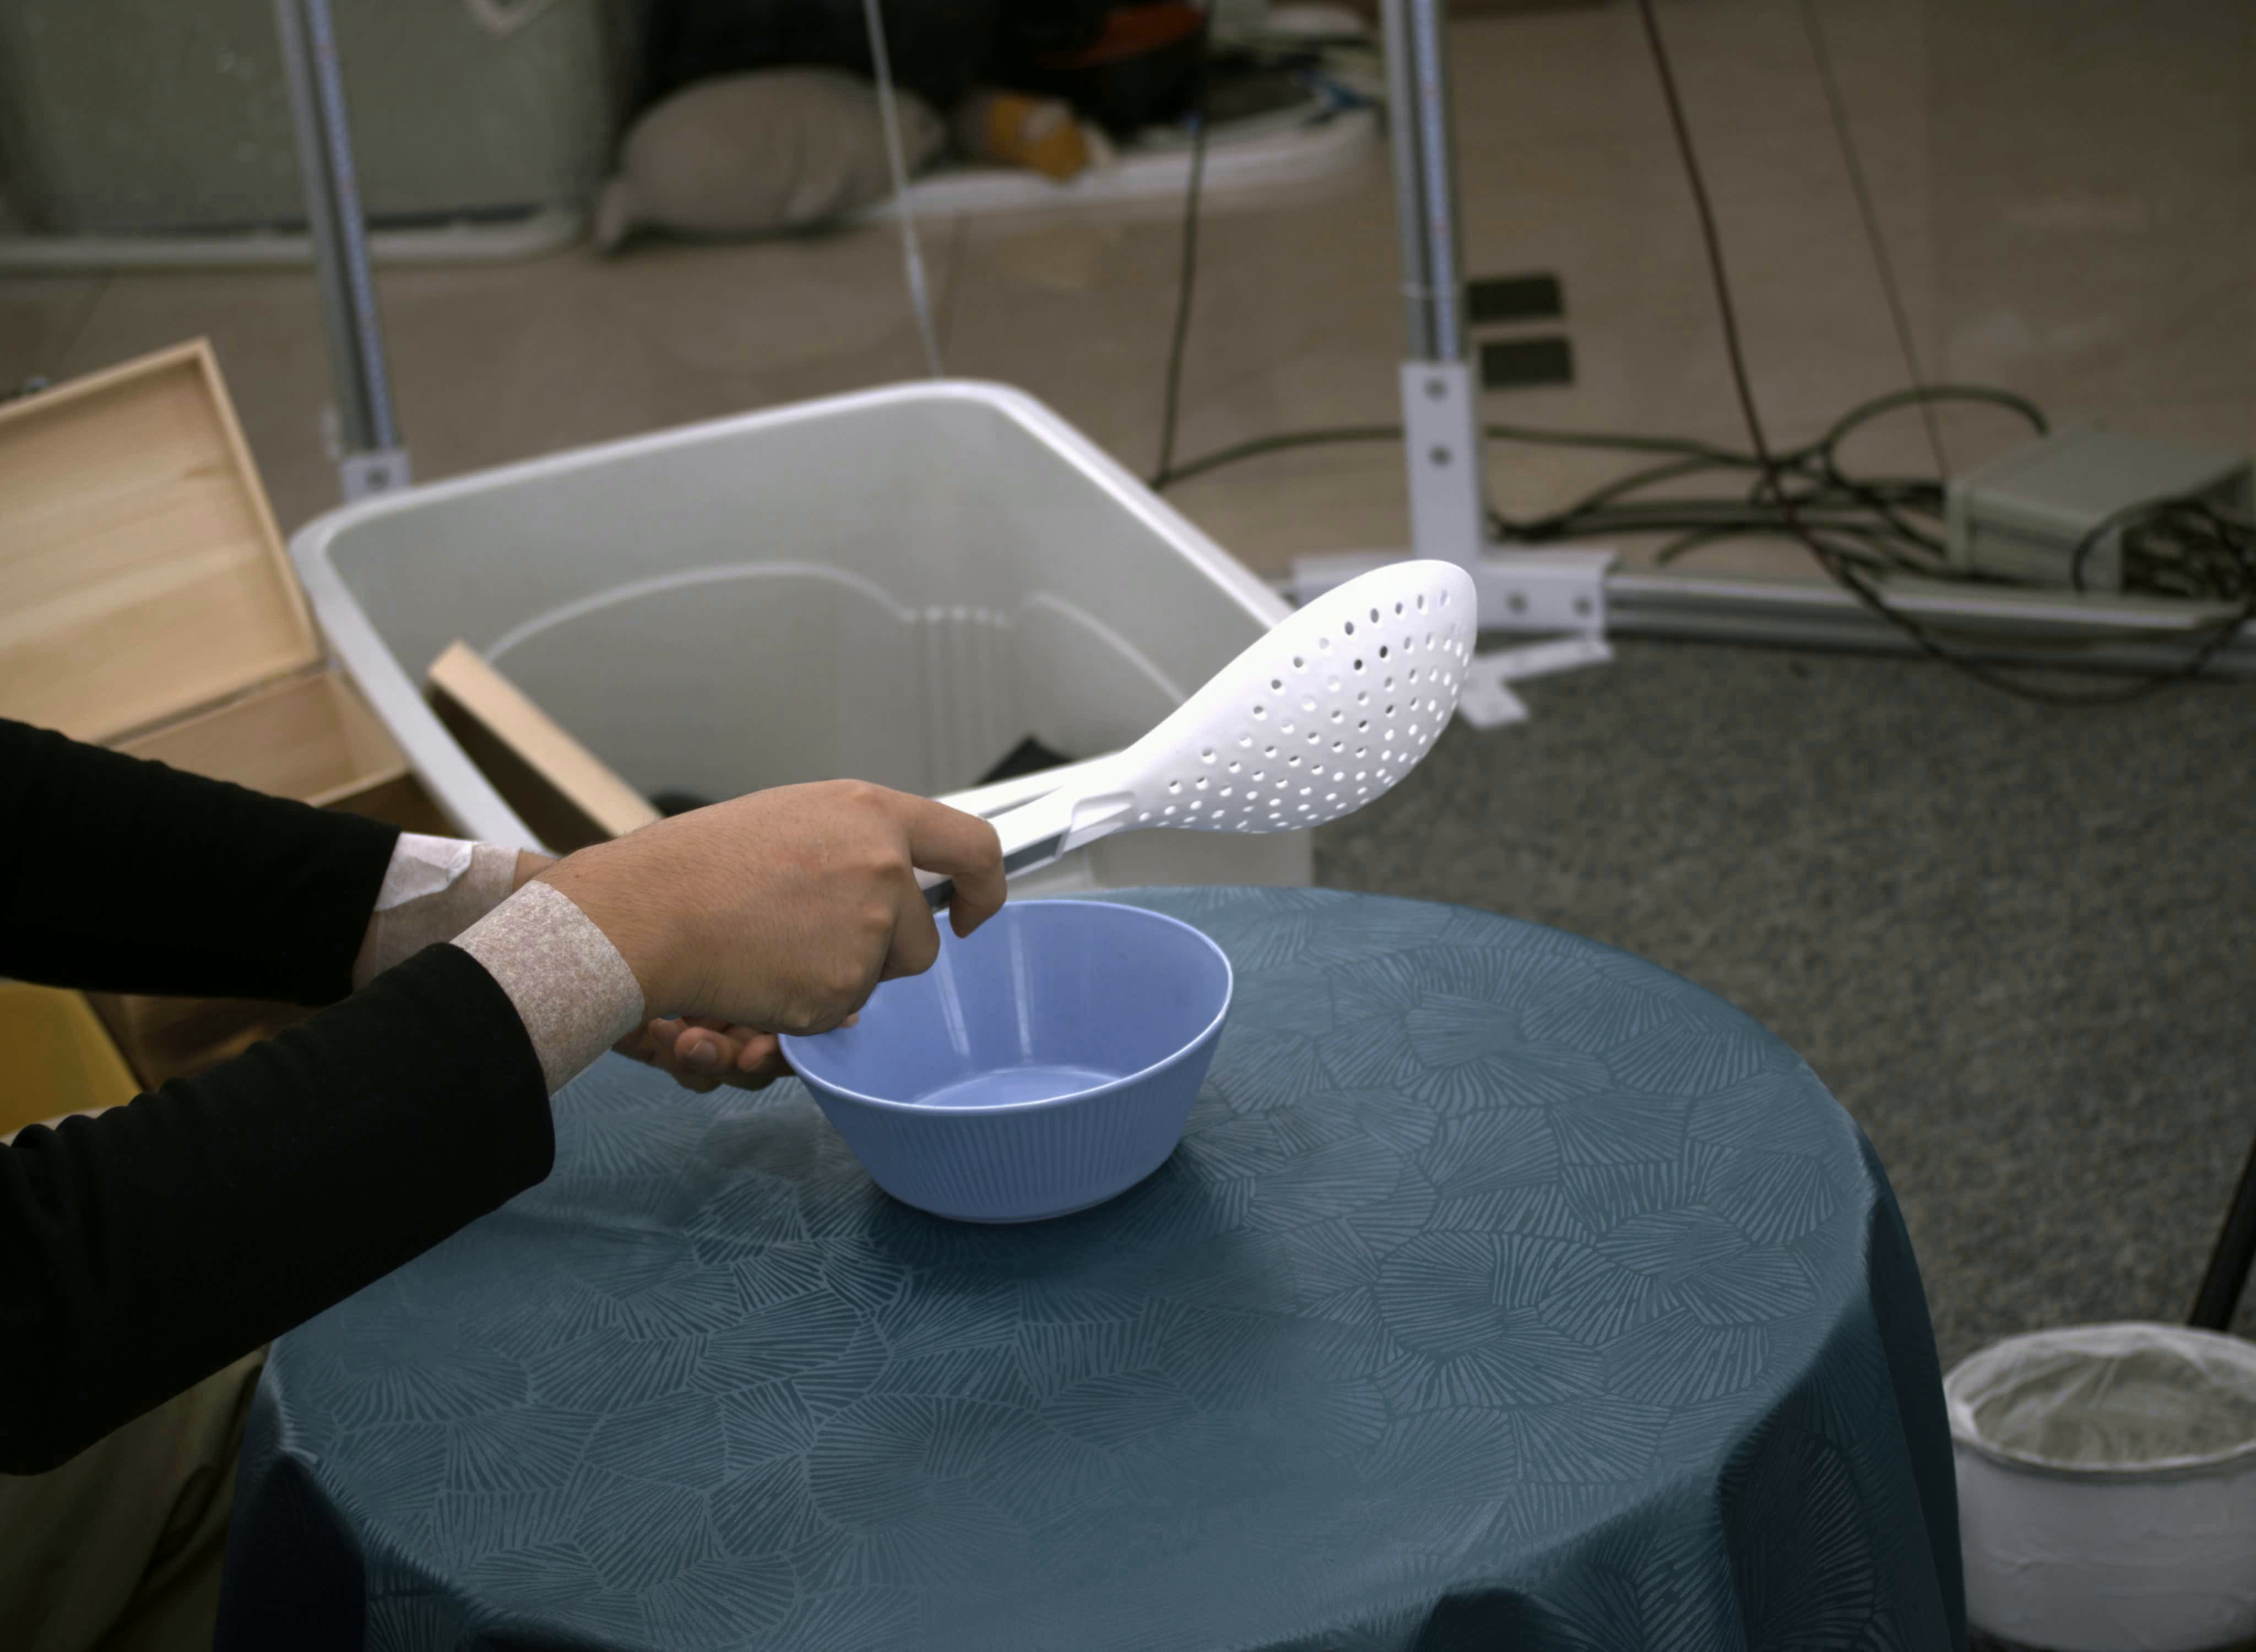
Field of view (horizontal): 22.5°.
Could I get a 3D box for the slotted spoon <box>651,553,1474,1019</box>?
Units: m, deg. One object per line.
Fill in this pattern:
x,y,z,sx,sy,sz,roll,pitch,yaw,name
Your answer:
-0.016,-0.007,1.986,0.348,0.138,0.045,-19,61,-25,slotted spoon

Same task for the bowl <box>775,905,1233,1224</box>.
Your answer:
-0.044,0.096,2.167,0.176,0.071,0.173,-6,25,3,bowl
